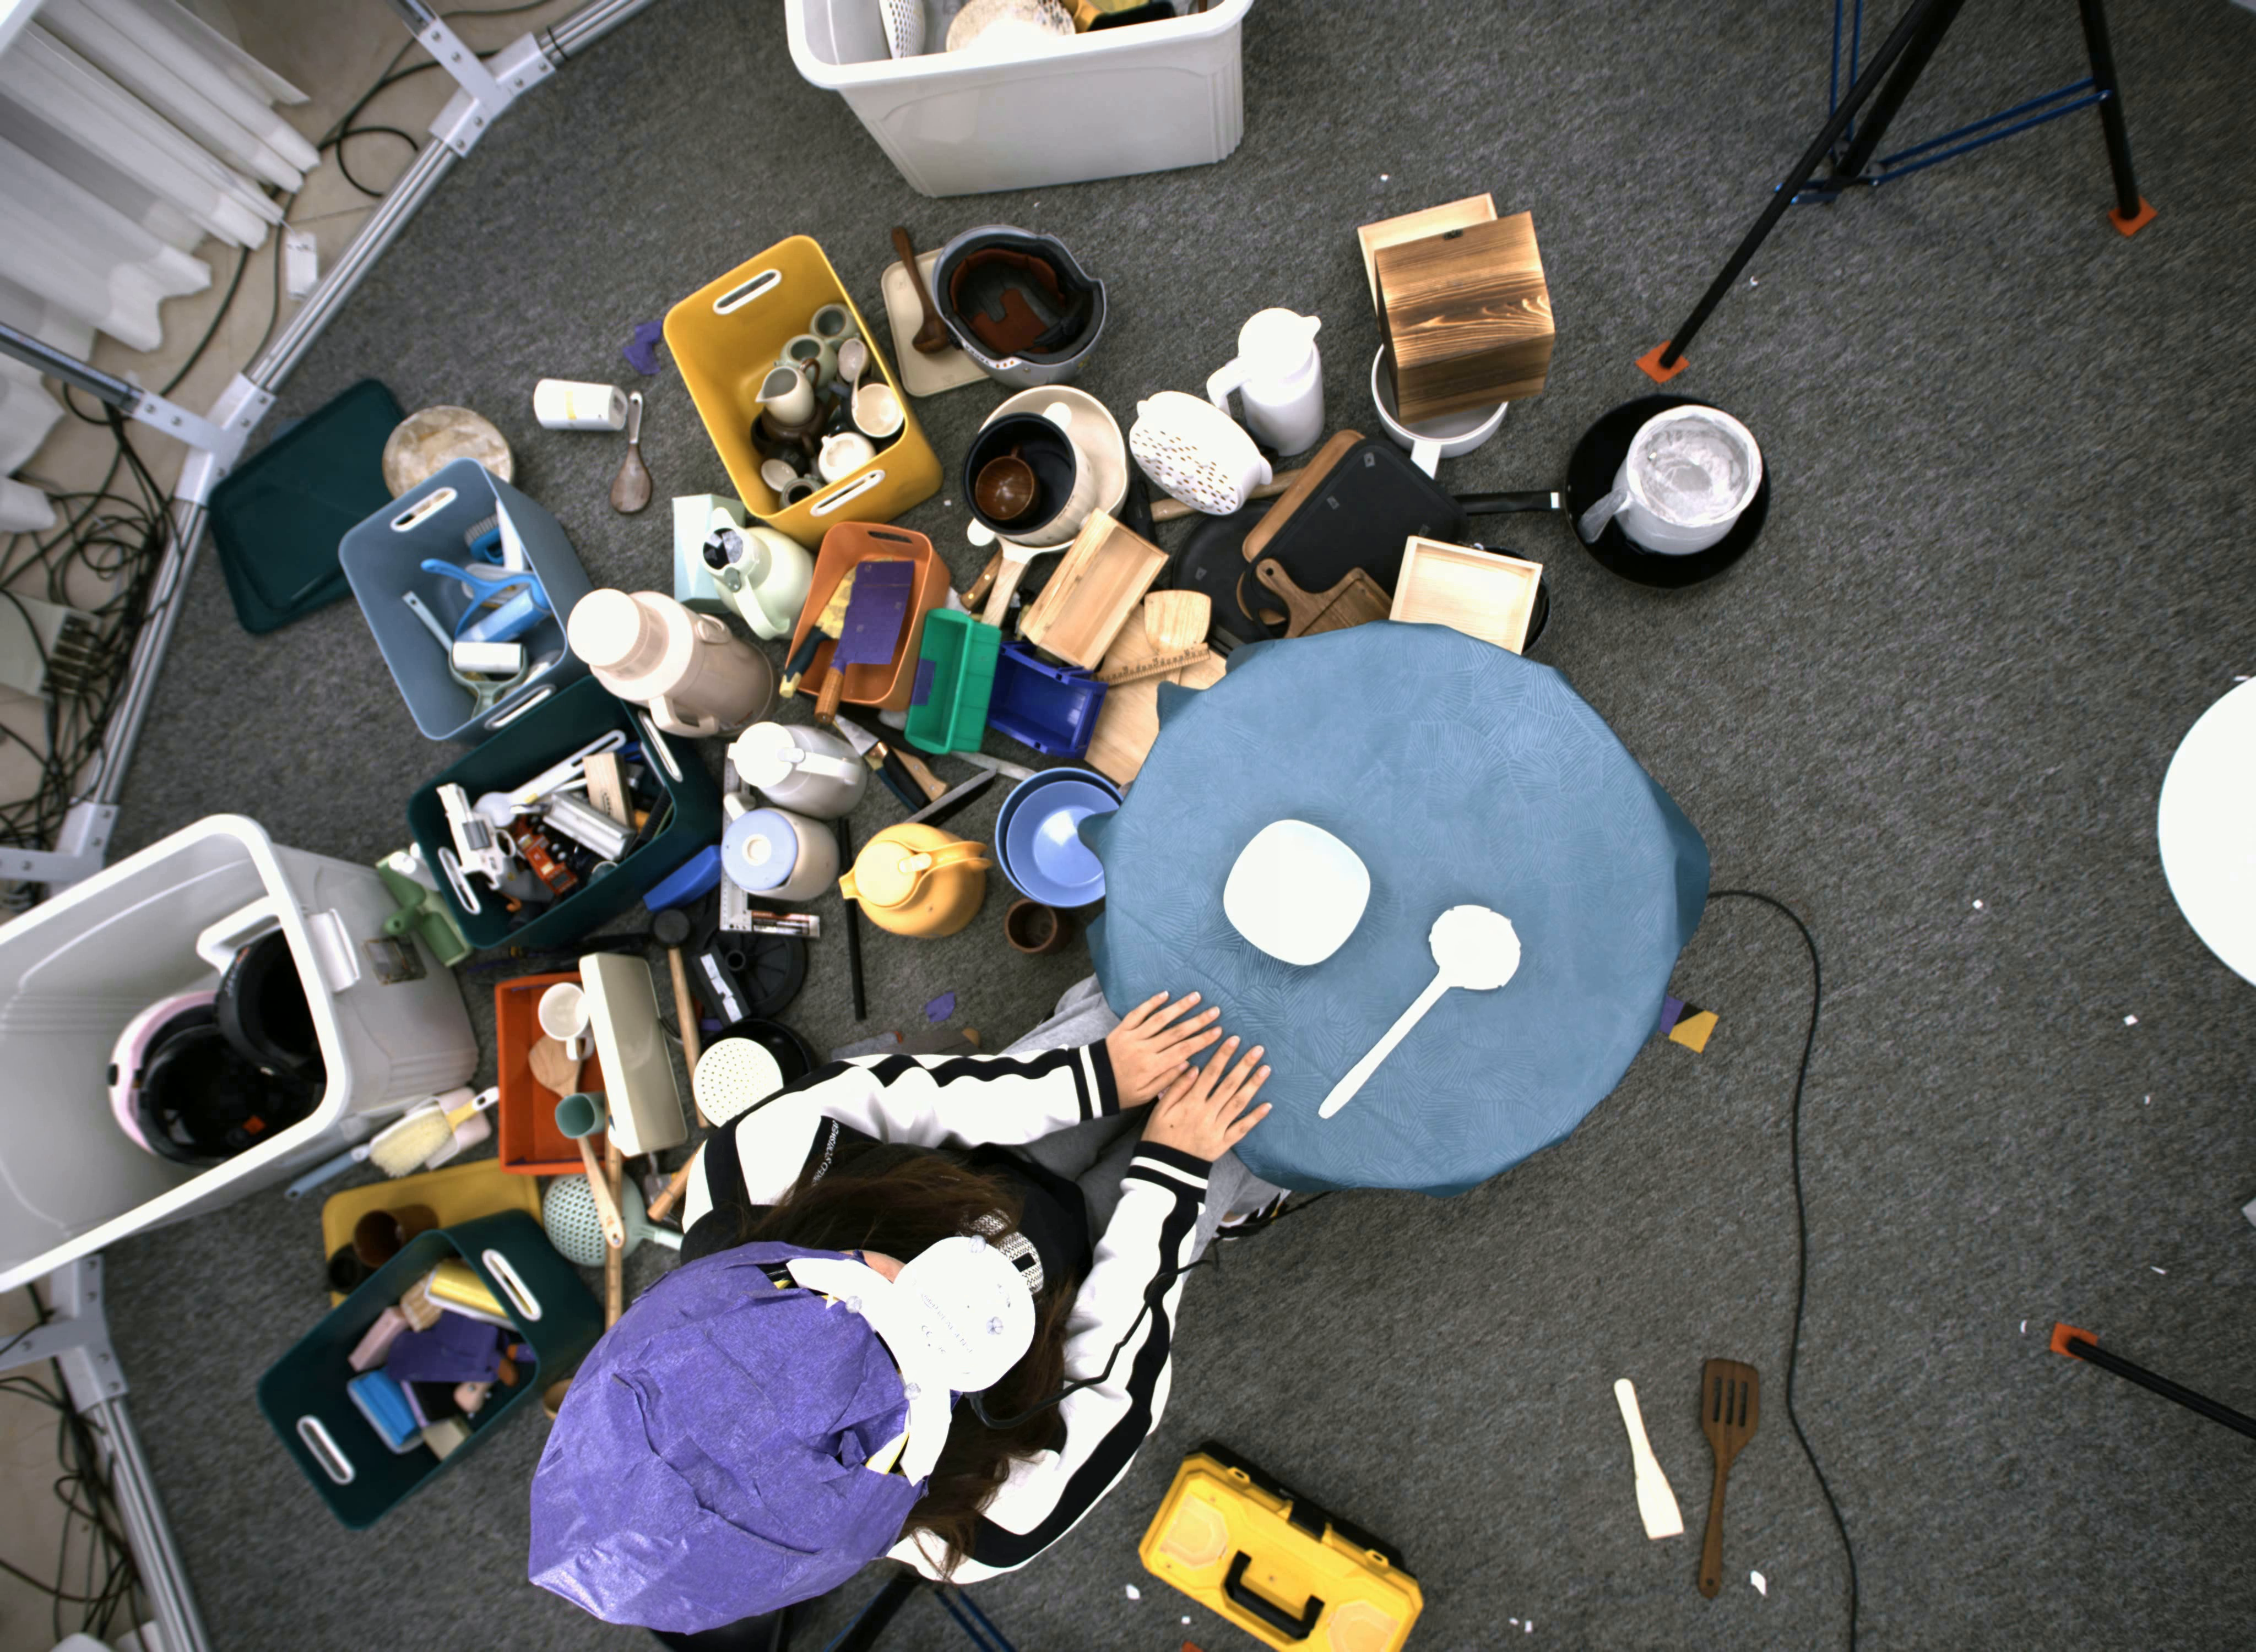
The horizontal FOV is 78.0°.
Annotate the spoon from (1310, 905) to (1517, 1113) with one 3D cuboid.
[{"bbox_3d":[0.283,0.192,1.422,0.278,0.059,0.100,-46,76,5],"label":"spoon"}]

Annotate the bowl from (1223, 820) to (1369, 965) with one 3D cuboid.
[{"bbox_3d":[0.176,0.070,1.451,0.152,0.058,0.151,-1,86,10],"label":"bowl"}]
